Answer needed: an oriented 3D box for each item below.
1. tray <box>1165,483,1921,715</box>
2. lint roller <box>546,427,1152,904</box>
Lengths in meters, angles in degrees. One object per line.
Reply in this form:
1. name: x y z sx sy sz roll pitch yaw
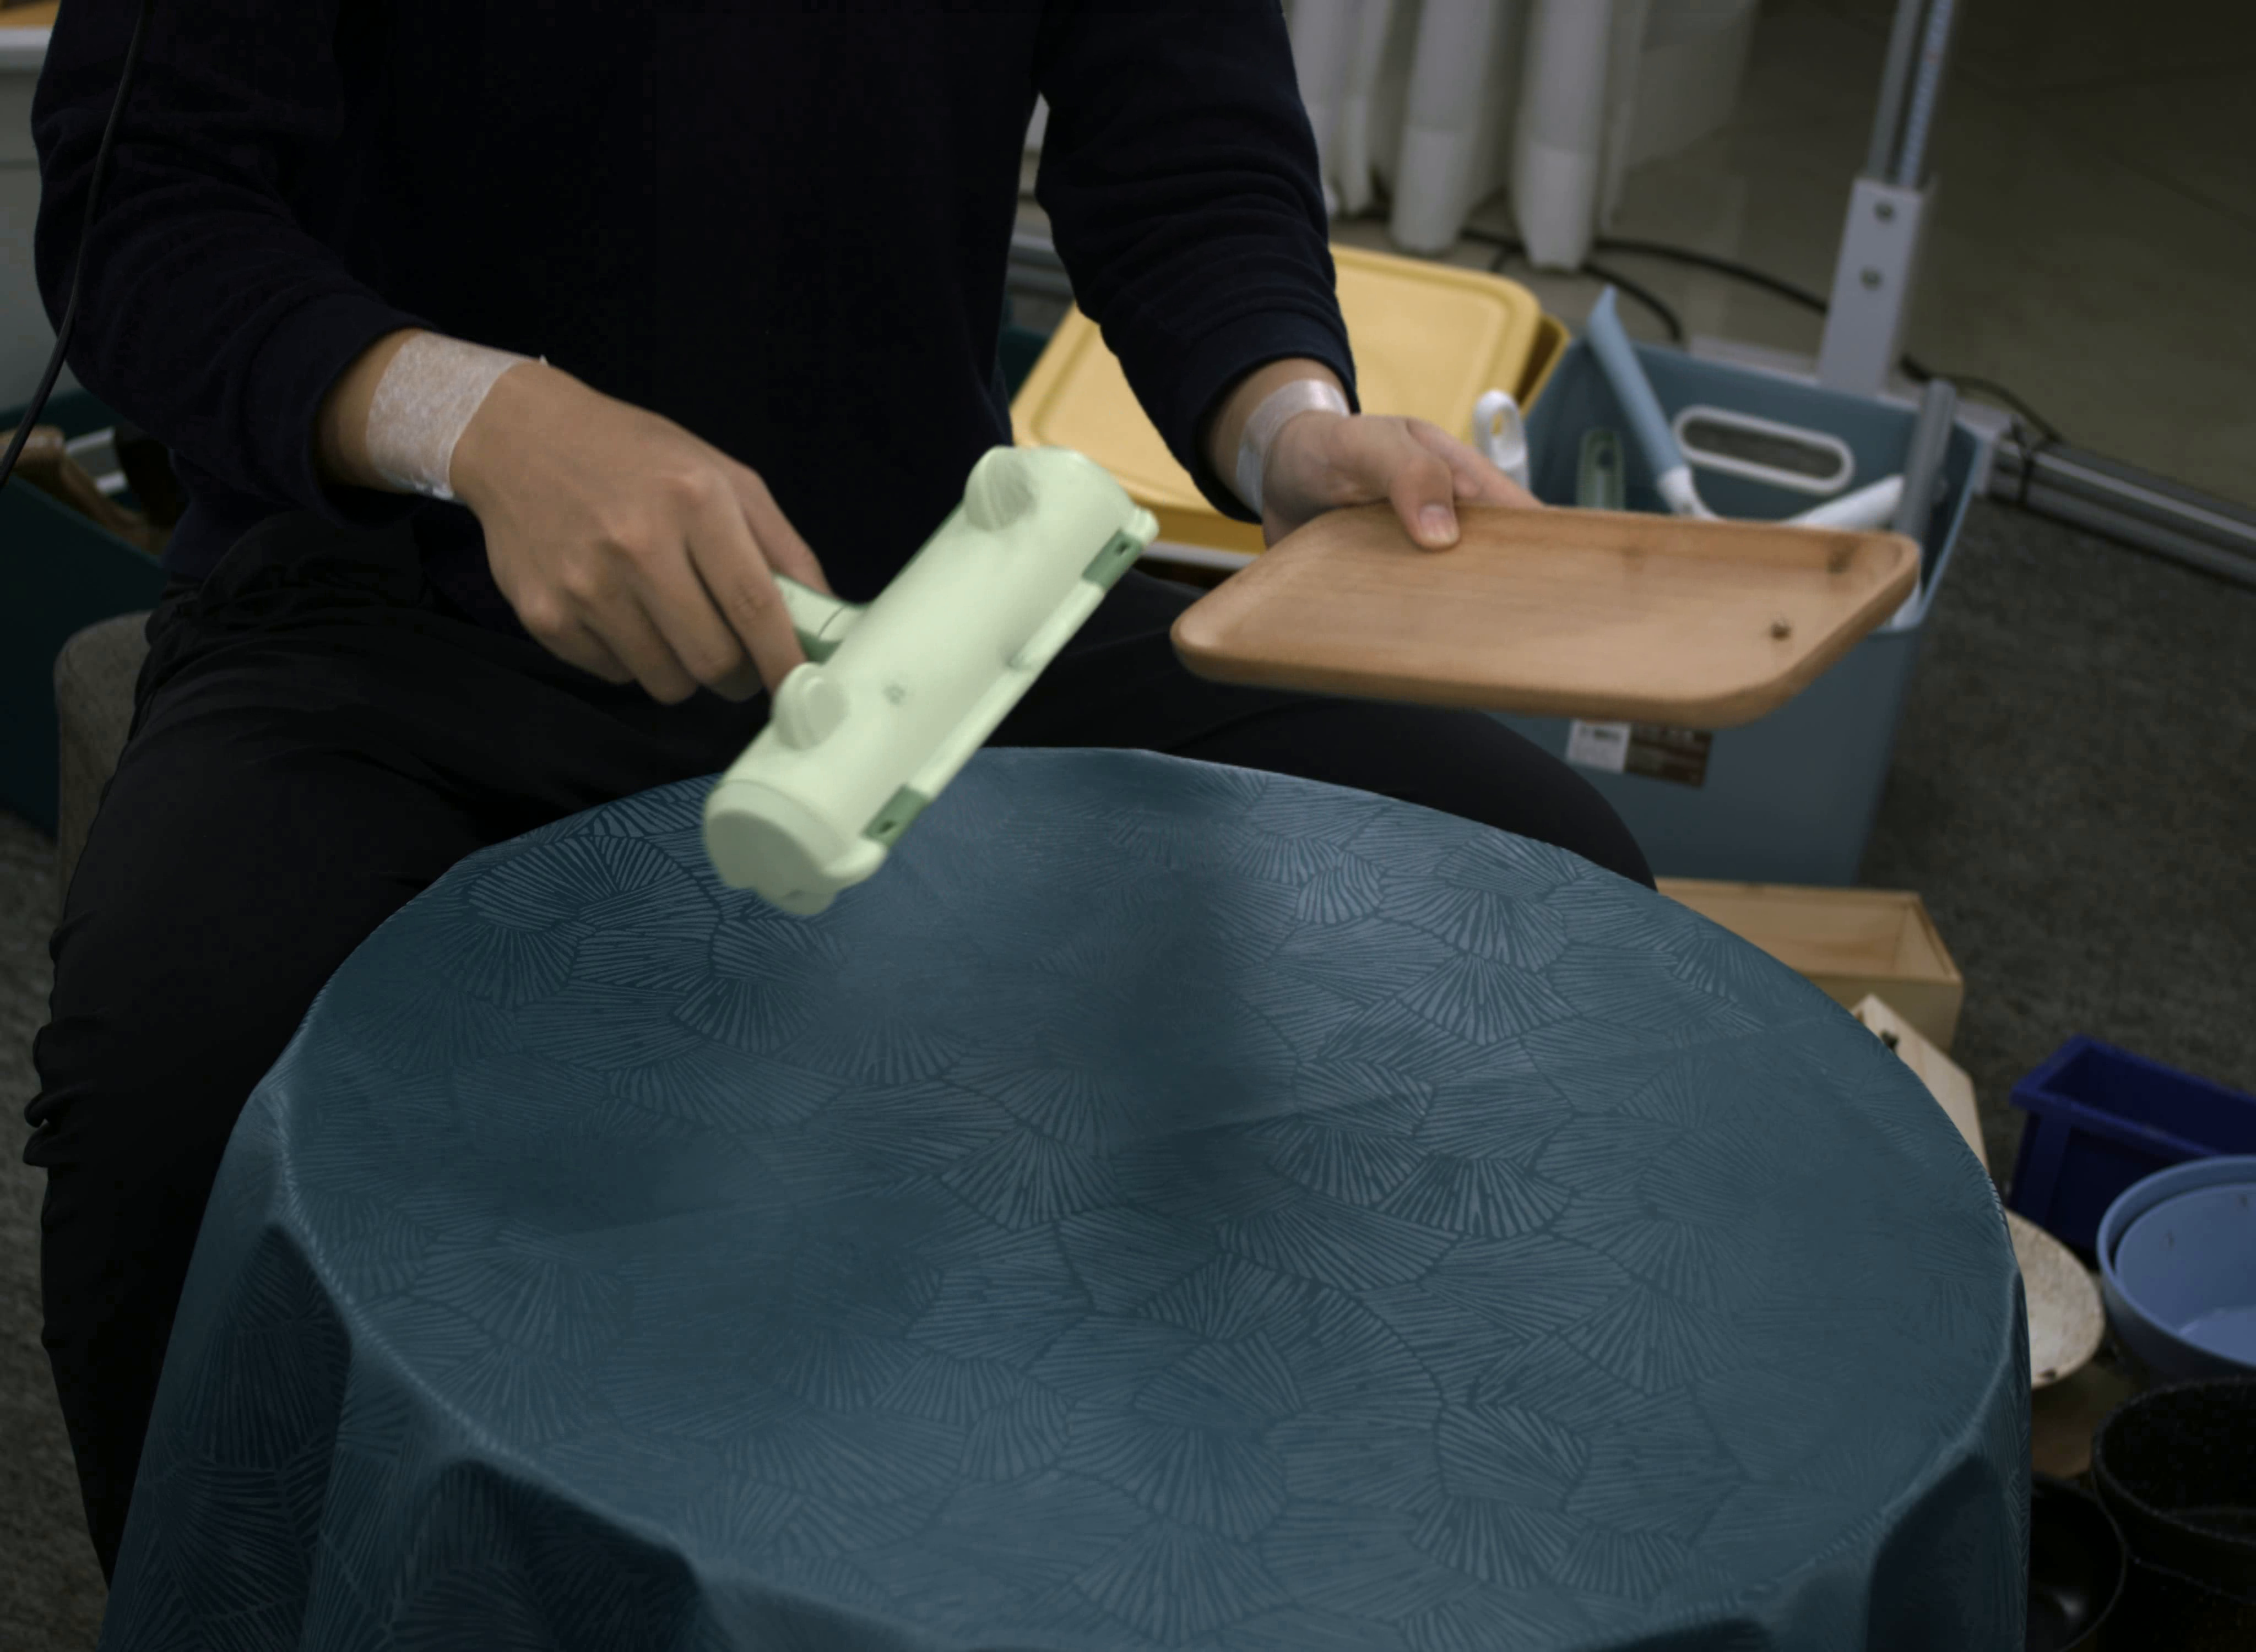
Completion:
1. tray: 0.136 -0.076 1.770 0.252 0.023 0.130 6 29 41
2. lint roller: -0.114 -0.083 1.764 0.184 0.082 0.199 26 52 14
